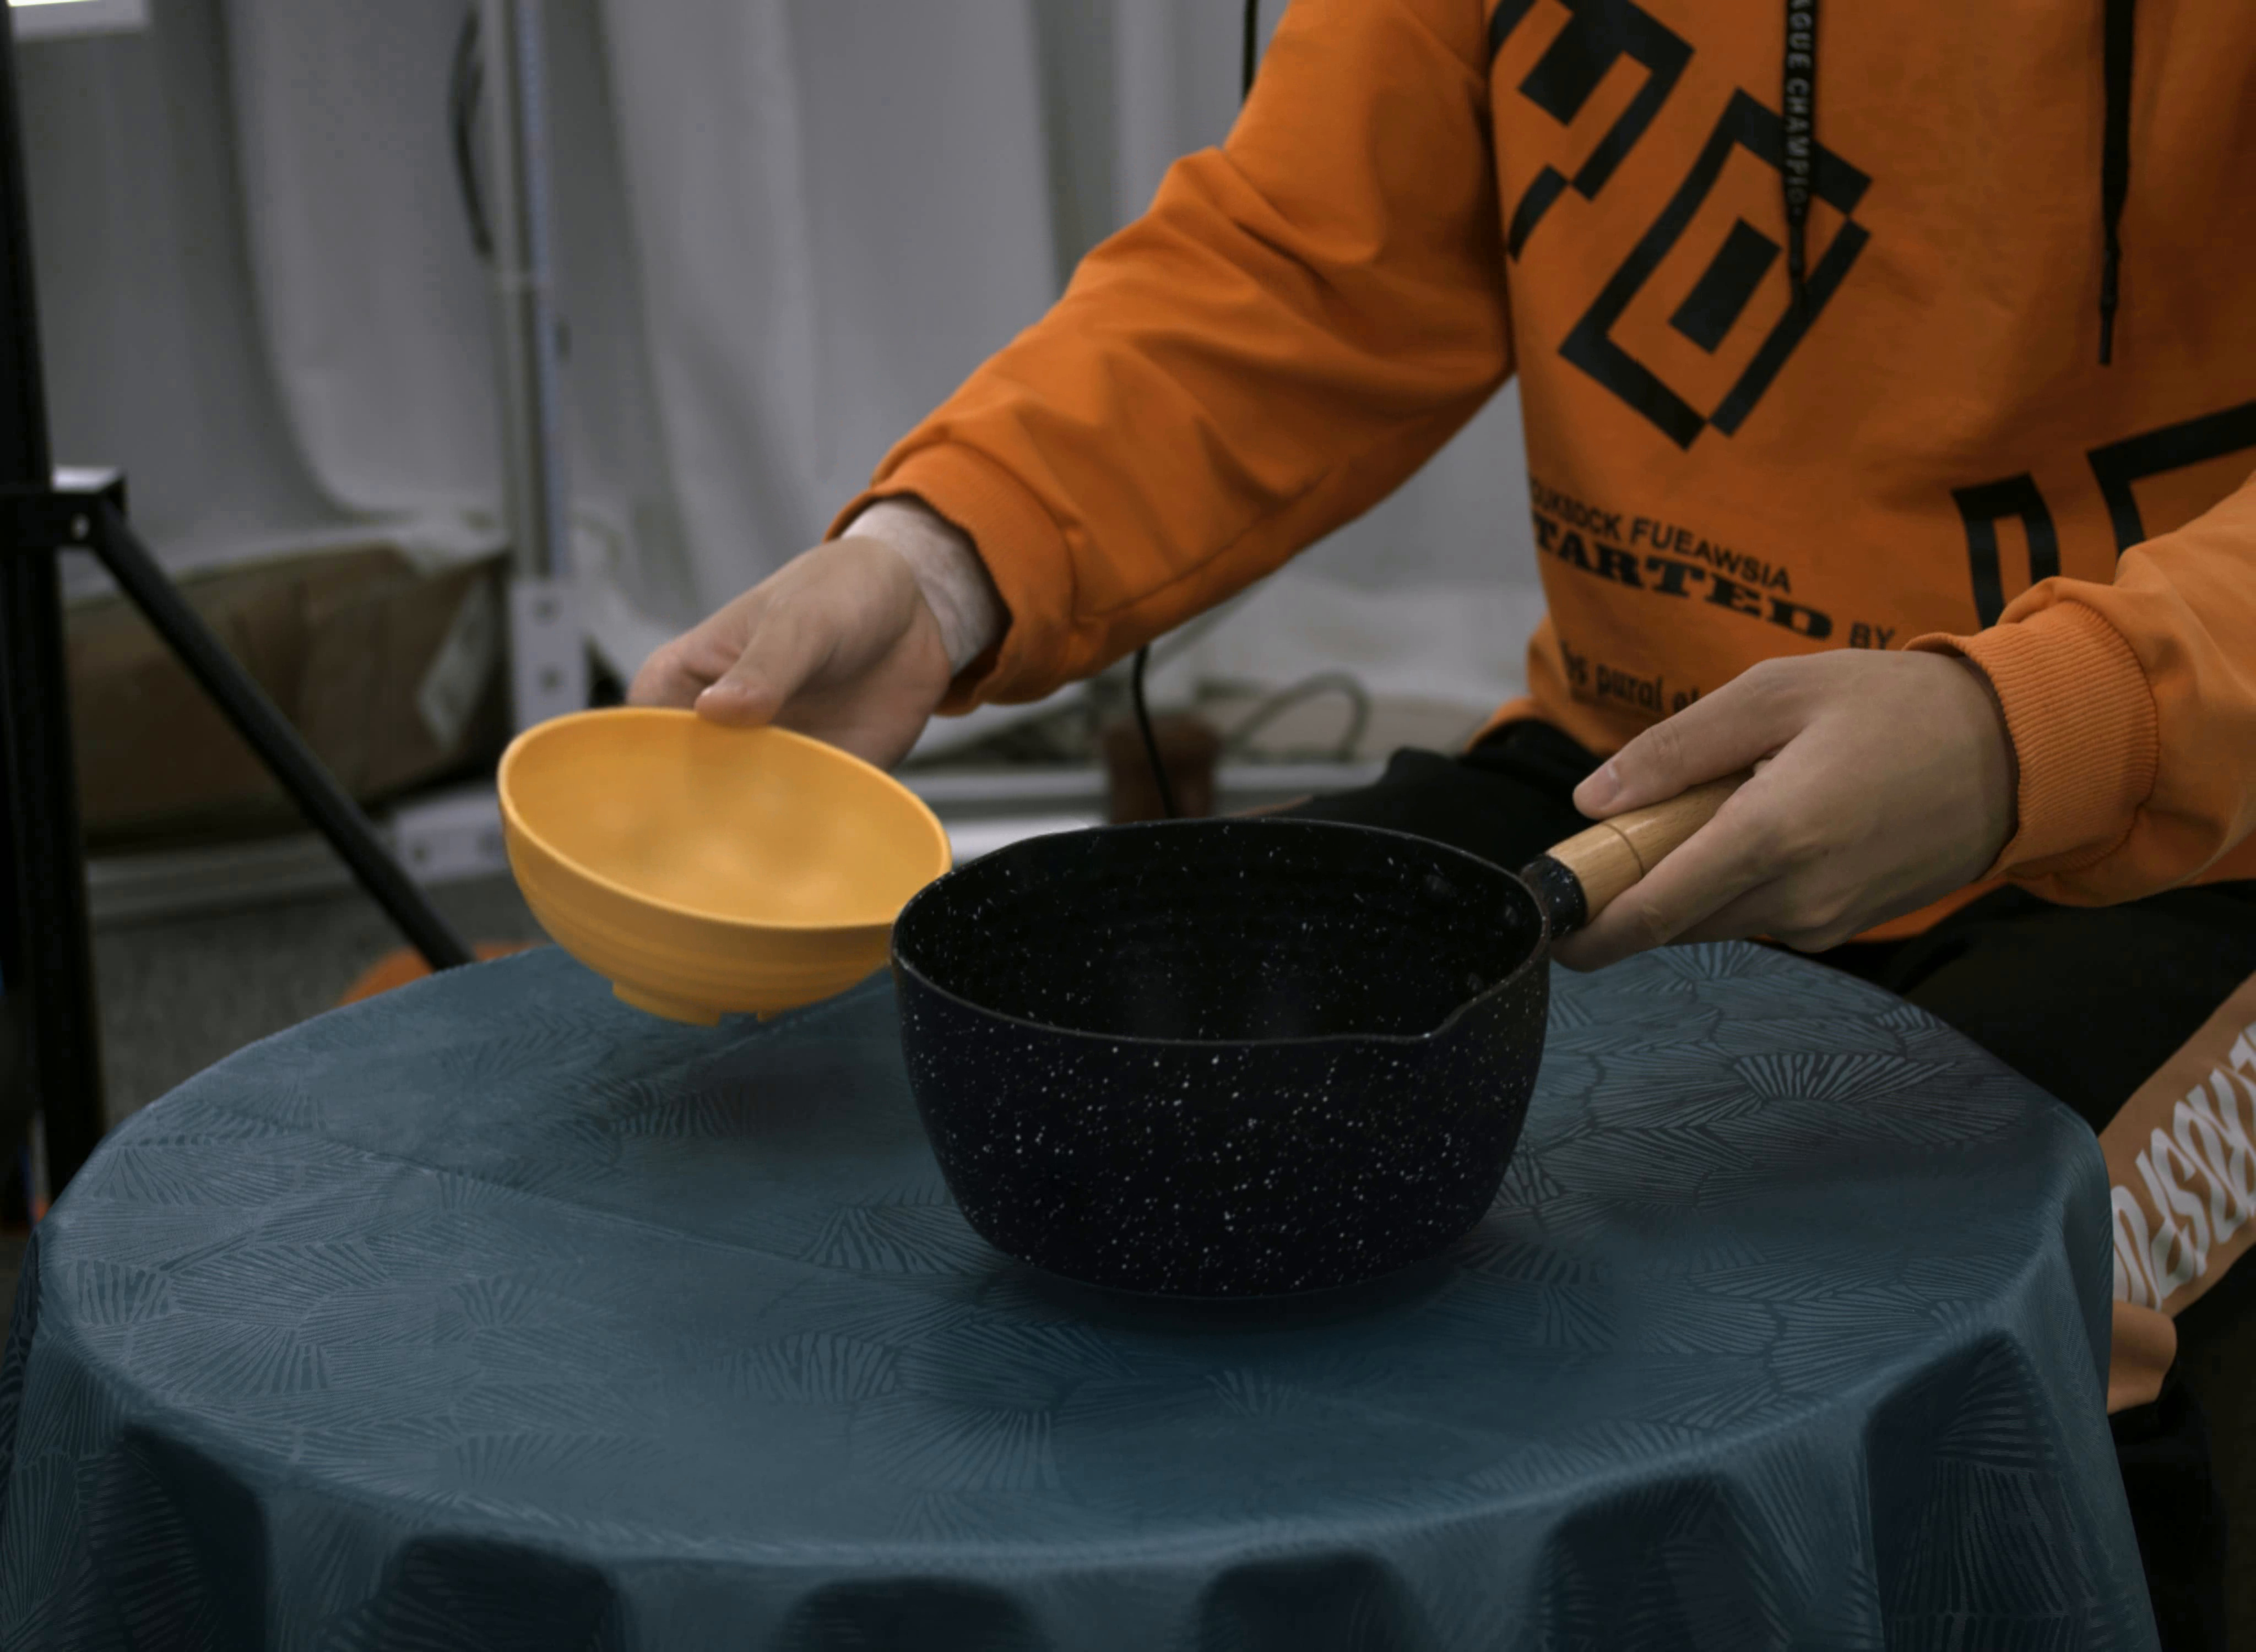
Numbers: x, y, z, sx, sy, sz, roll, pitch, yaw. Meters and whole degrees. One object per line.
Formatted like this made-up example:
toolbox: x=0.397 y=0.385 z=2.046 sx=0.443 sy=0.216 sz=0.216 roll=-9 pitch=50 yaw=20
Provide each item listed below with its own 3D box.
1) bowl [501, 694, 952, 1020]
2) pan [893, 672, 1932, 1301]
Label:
bowl: x=-0.131 y=0.019 z=1.664 sx=0.144 sy=0.060 sz=0.146 roll=12 pitch=25 yaw=-7
pan: x=0.093 y=0.040 z=1.527 sx=0.335 sy=0.108 sz=0.212 roll=-14 pitch=21 yaw=-29
